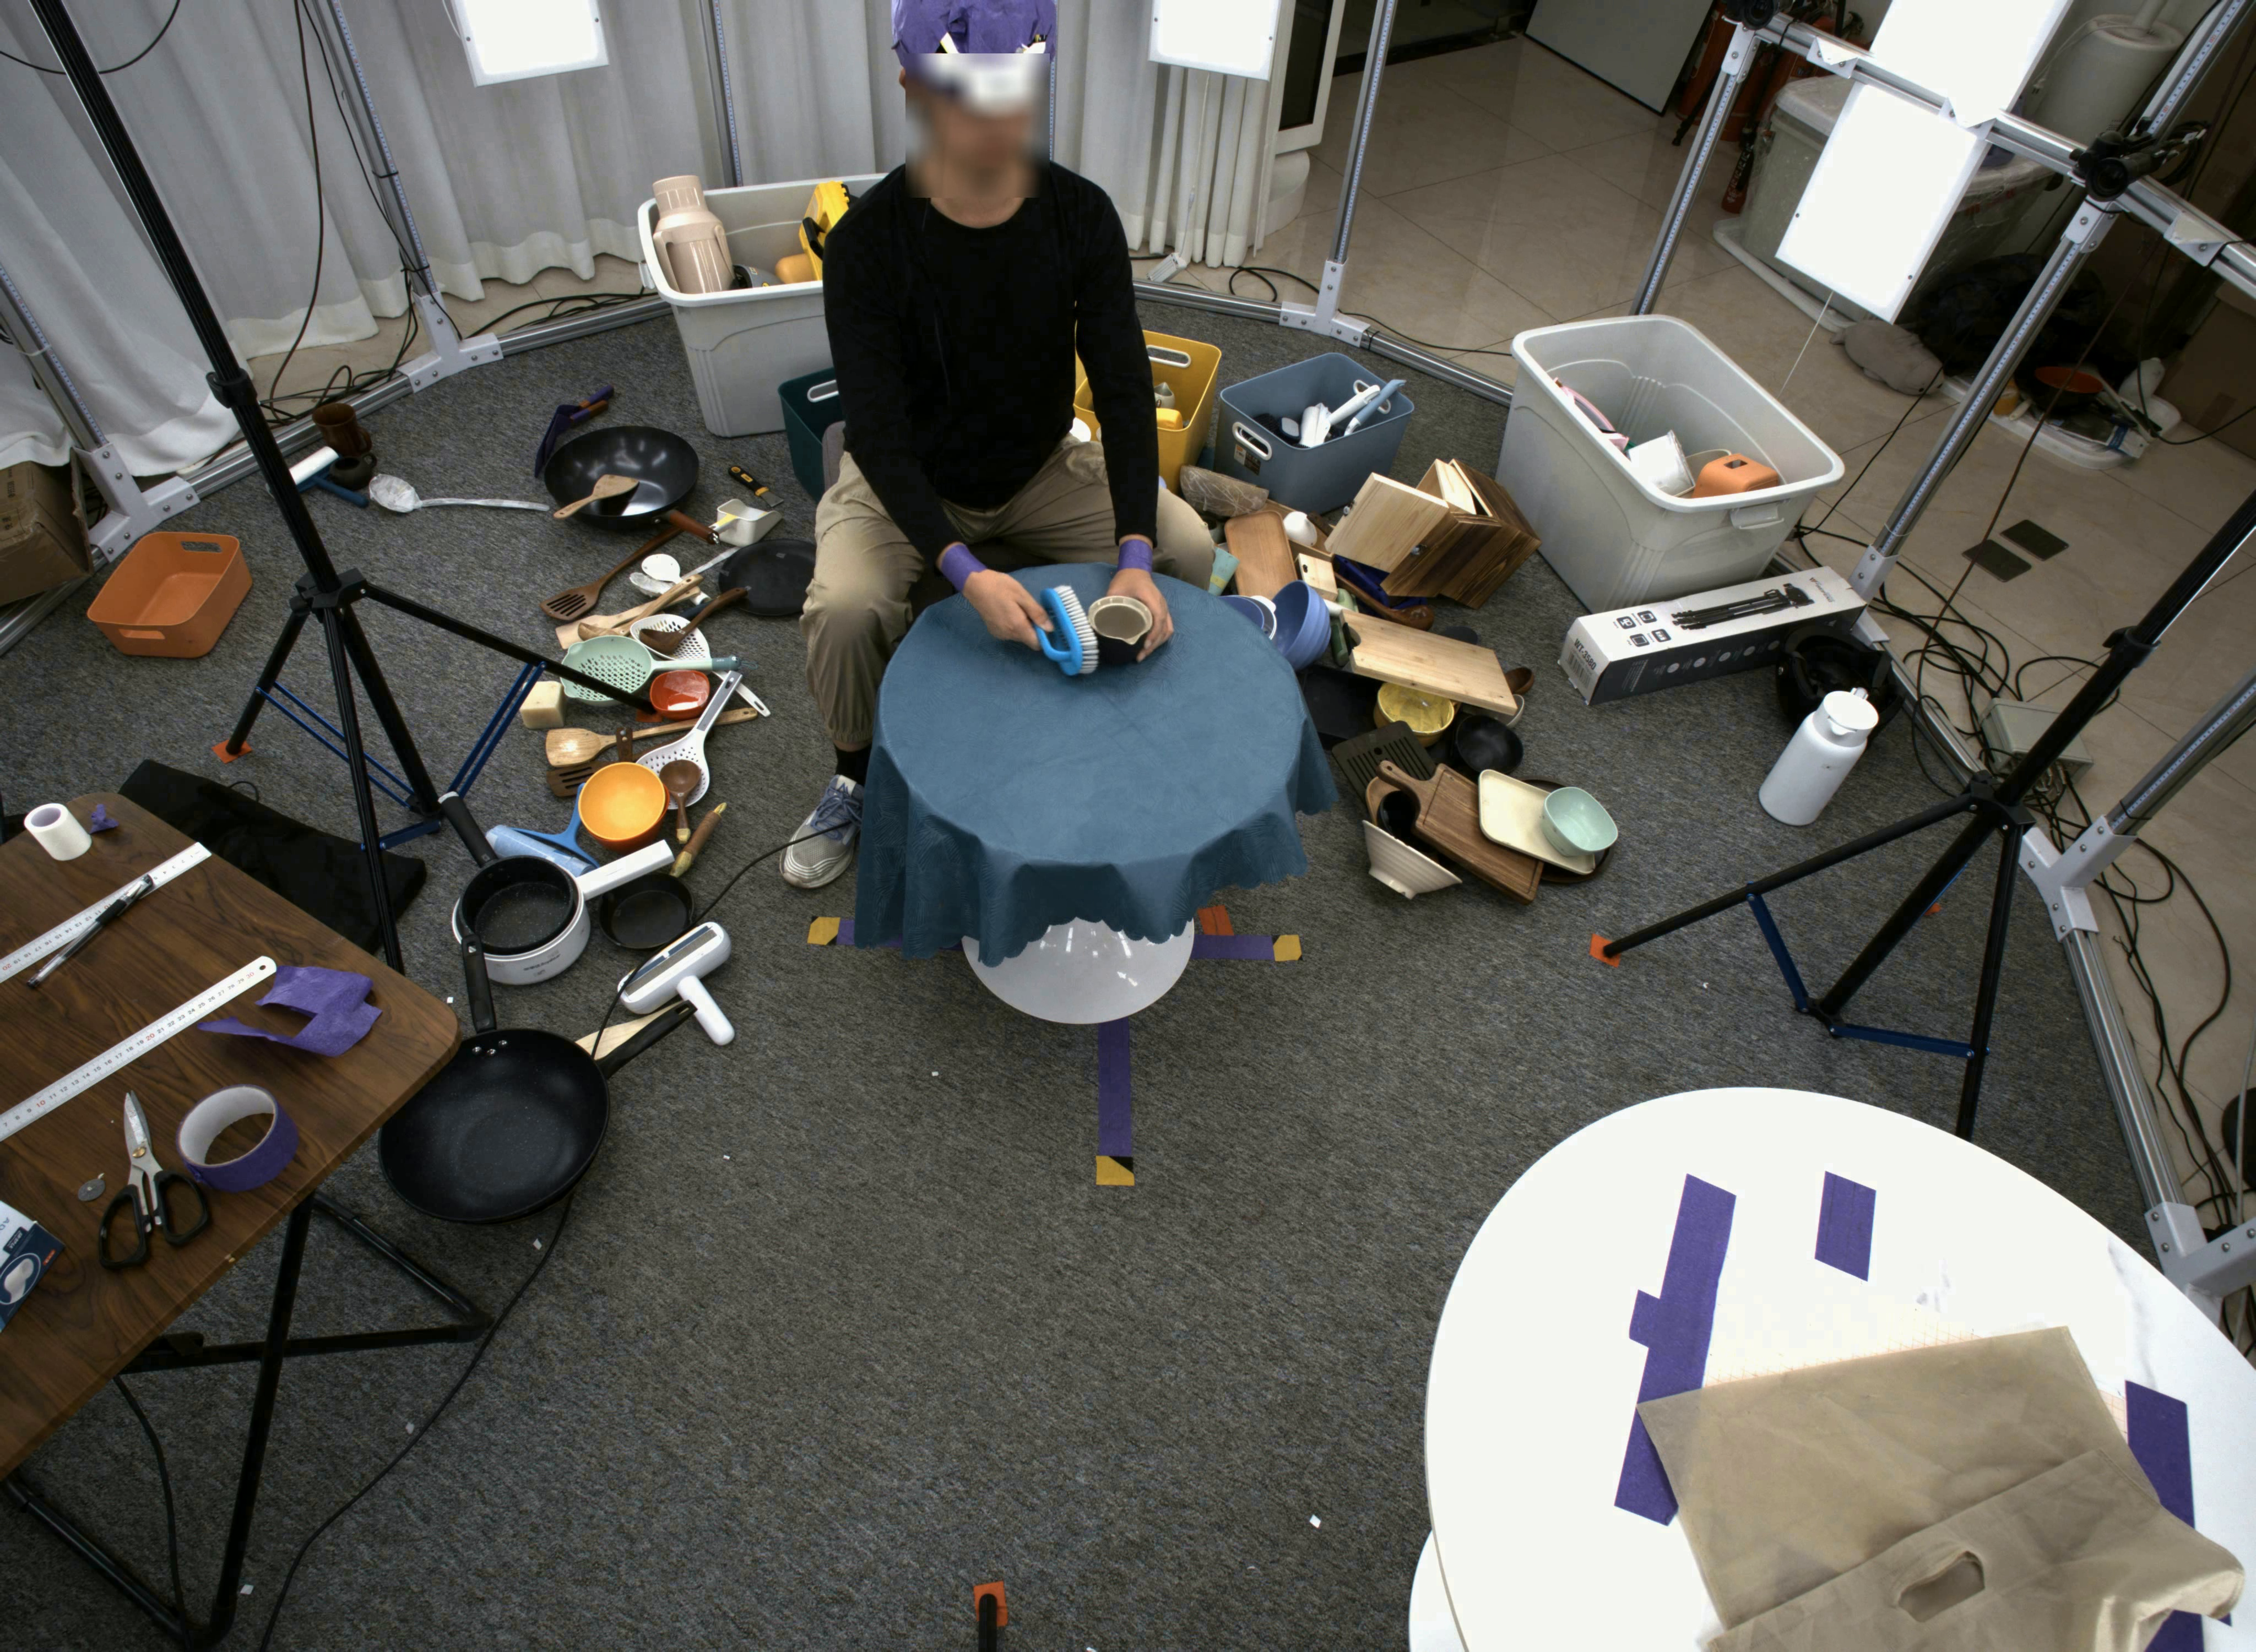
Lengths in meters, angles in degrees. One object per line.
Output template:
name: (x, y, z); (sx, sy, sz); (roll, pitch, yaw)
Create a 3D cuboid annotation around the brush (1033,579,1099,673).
brush: (-0.095, -0.280, 1.833); (0.064, 0.083, 0.144); (-16, 70, -20)

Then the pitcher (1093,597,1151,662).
pitcher: (-0.010, -0.277, 1.857); (0.083, 0.069, 0.098); (-6, 52, -13)
